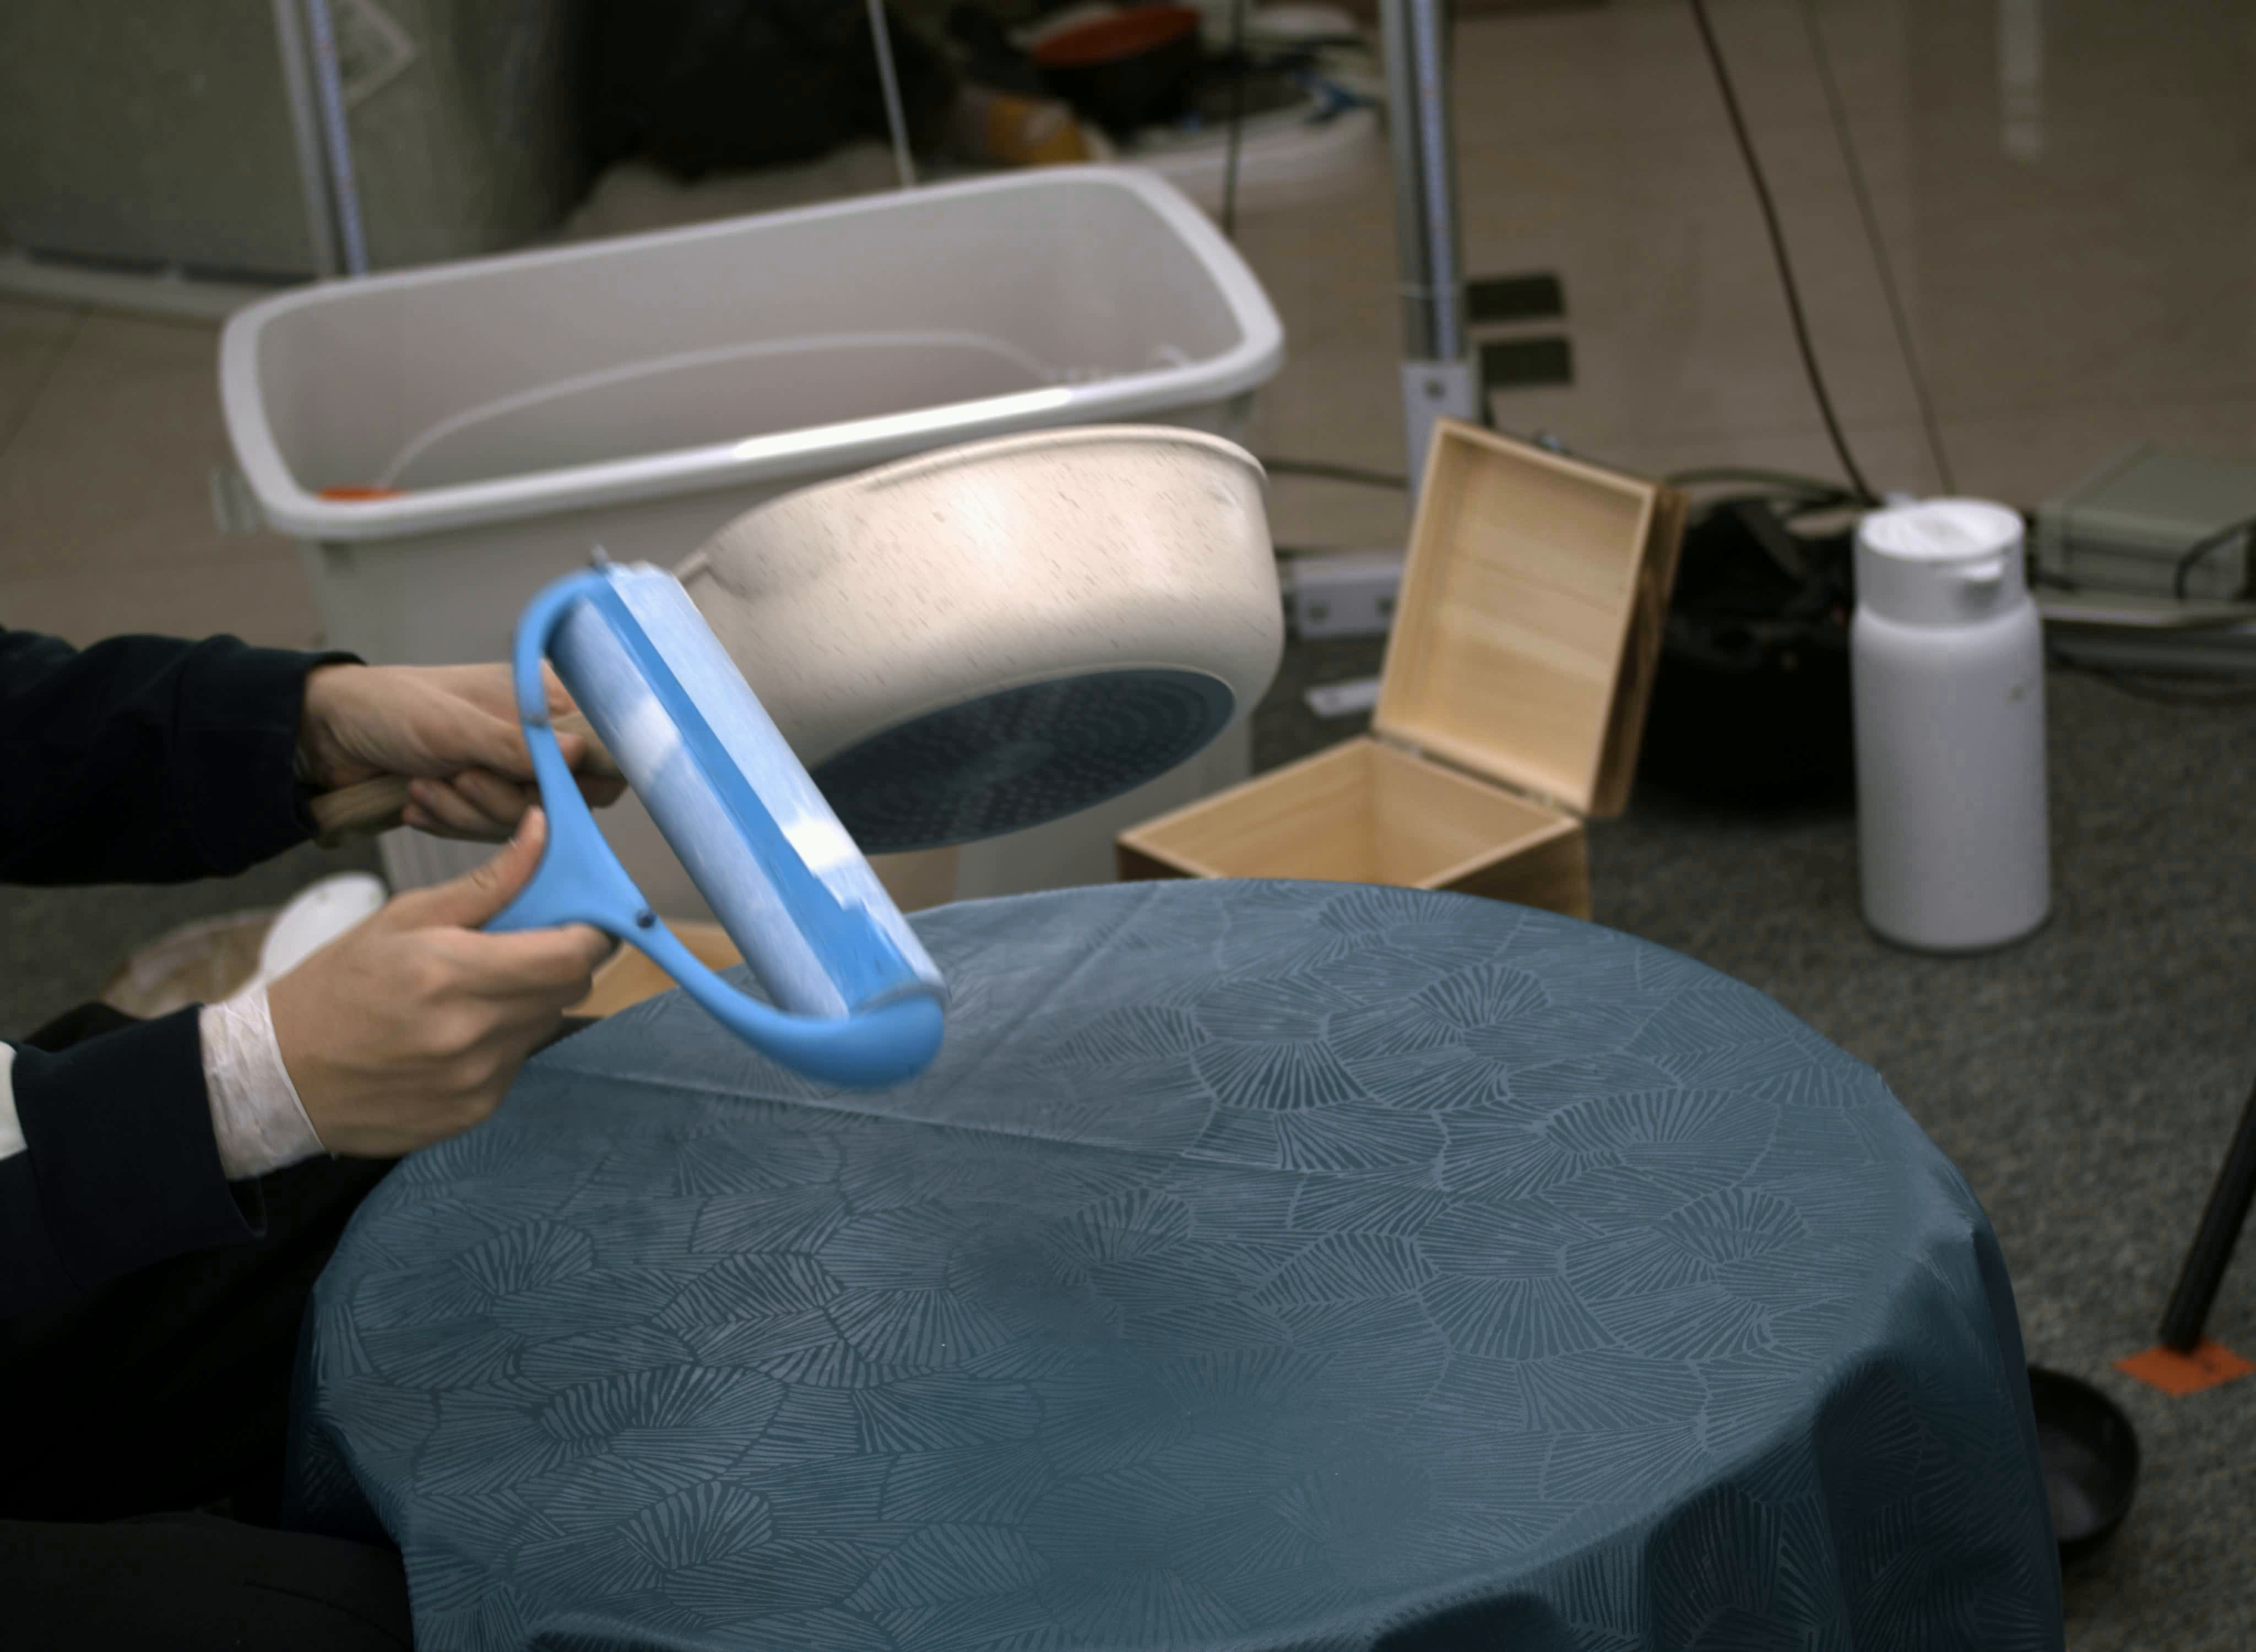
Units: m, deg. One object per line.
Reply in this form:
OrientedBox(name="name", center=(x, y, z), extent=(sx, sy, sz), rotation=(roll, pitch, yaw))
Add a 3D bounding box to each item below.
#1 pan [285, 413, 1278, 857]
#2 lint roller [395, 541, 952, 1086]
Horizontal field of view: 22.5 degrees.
OrientedBox(name="pan", center=(-0.139, -0.038, 2.177), extent=(0.436, 0.101, 0.264), rotation=(-24, -17, 24))
OrientedBox(name="lint roller", center=(-0.182, 0.024, 1.945), extent=(0.180, 0.069, 0.226), rotation=(-38, 69, -4))
